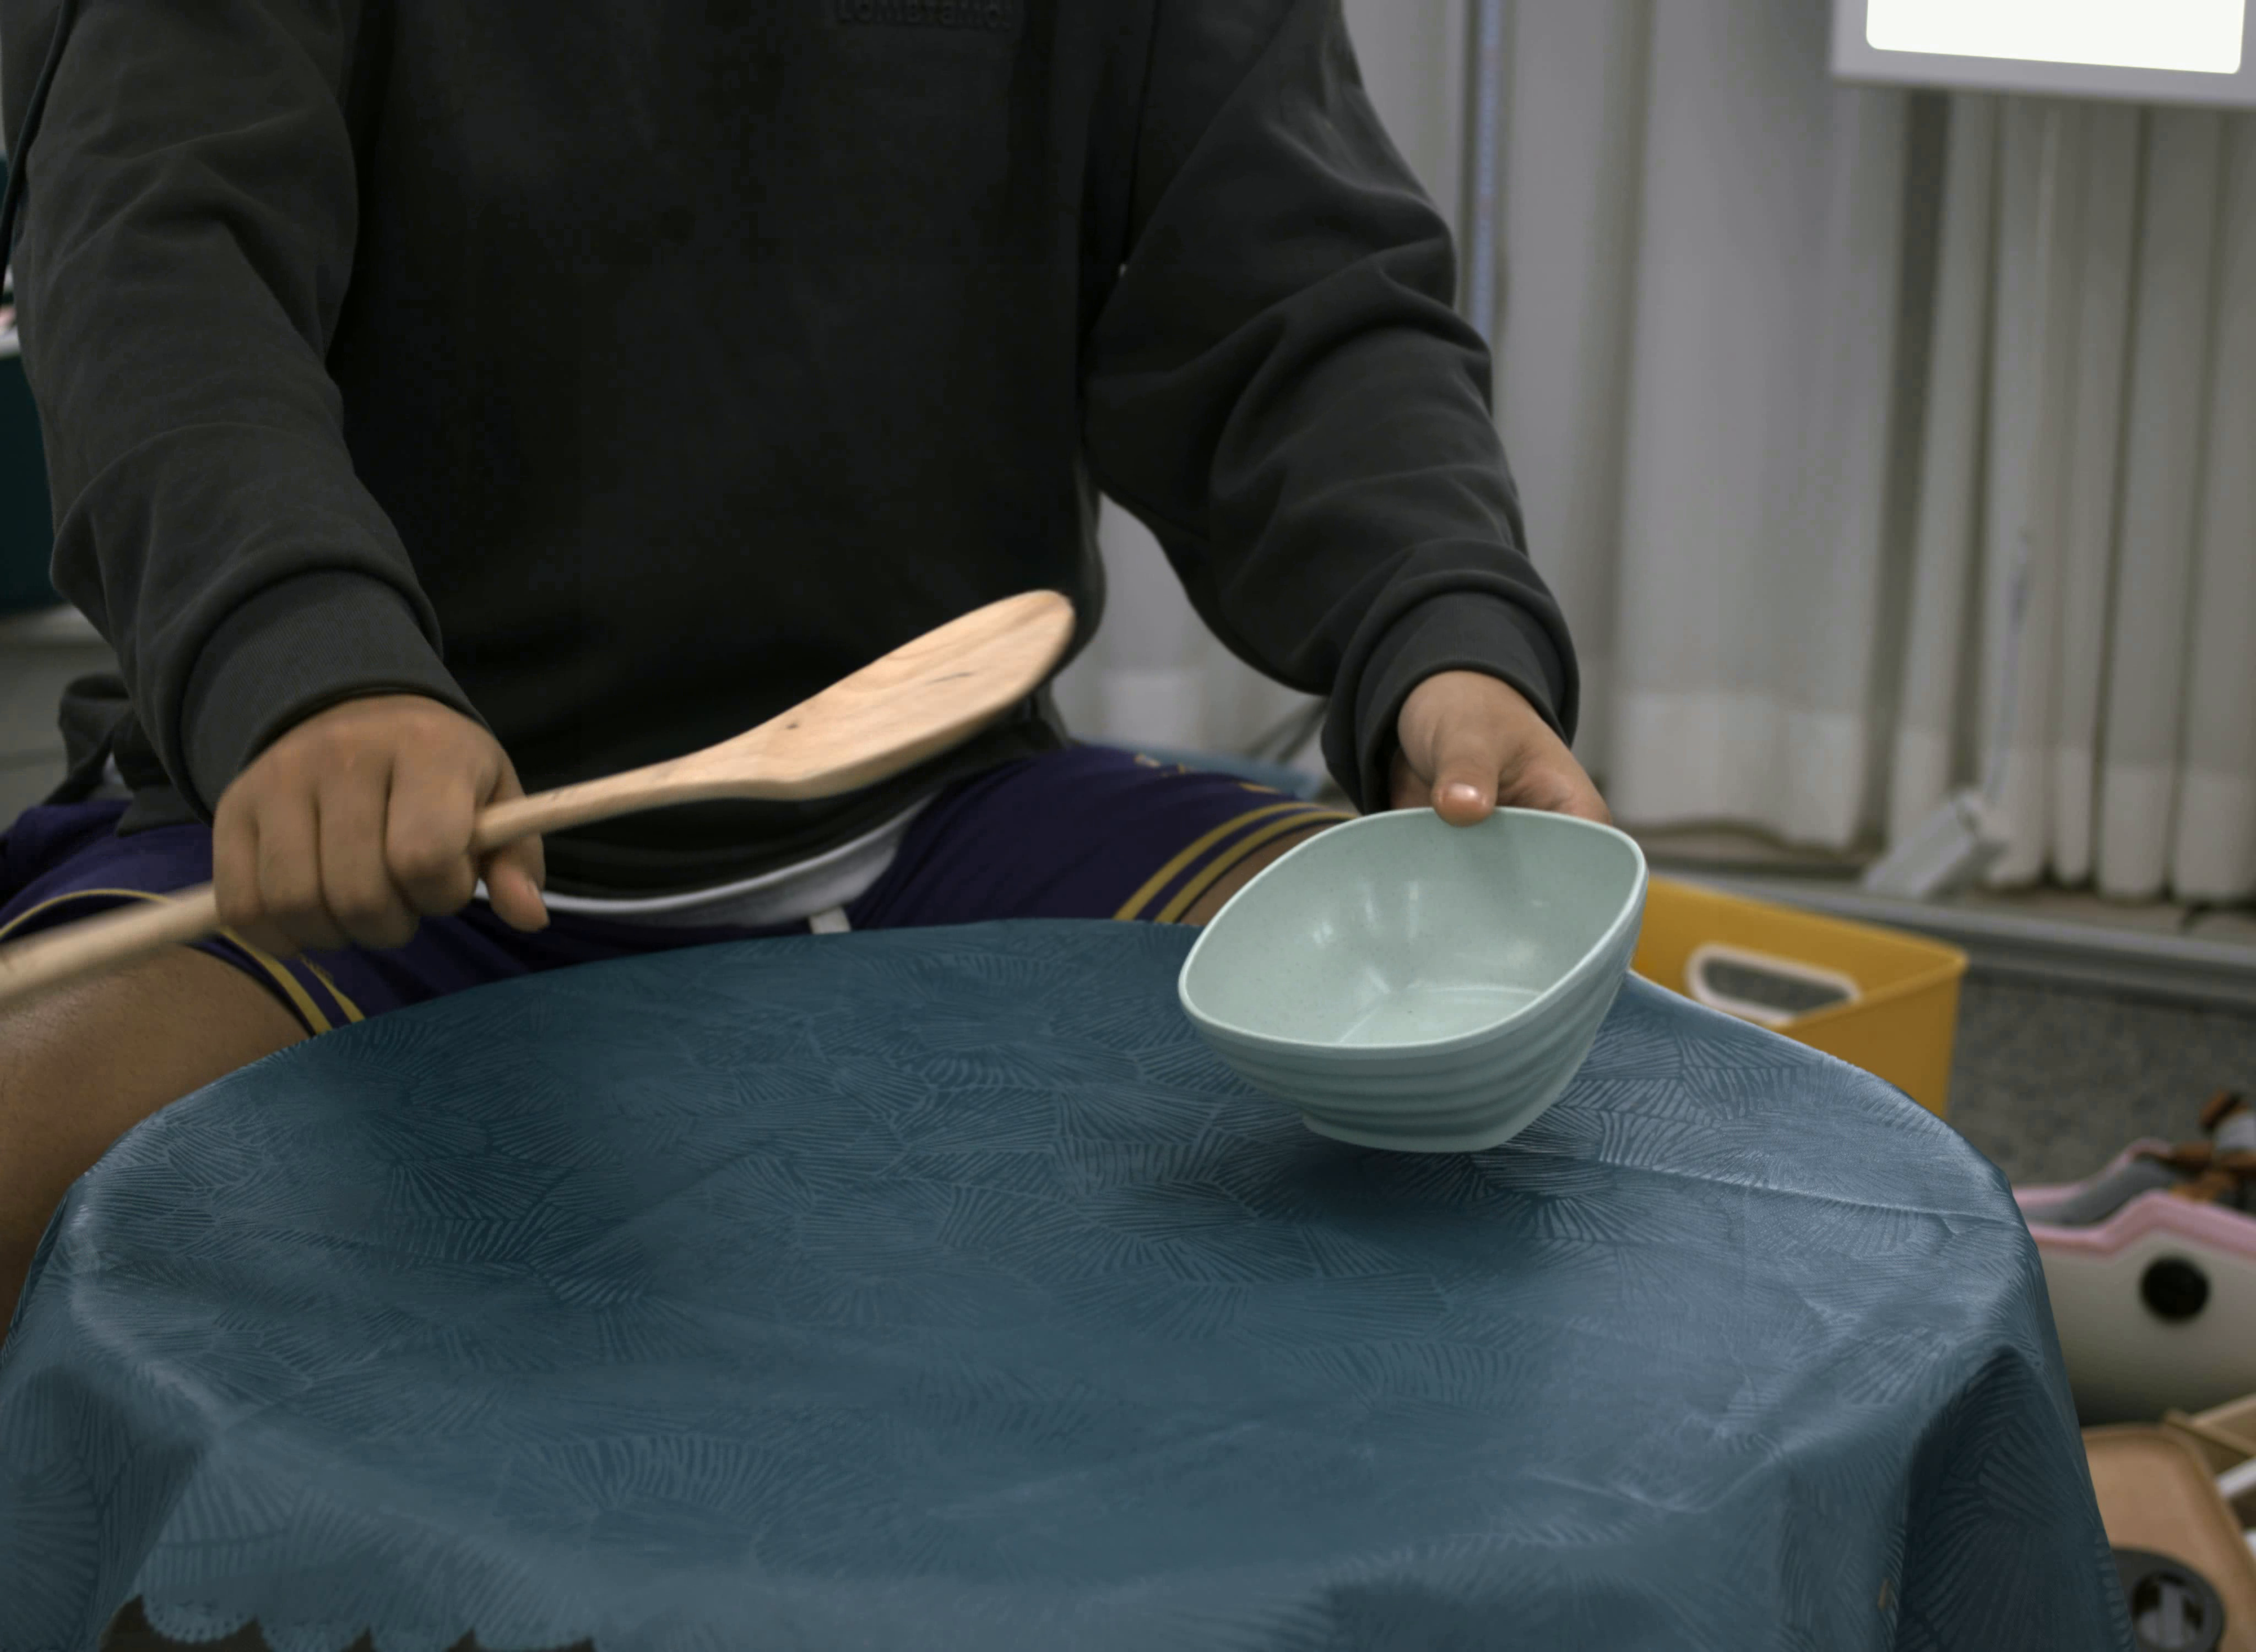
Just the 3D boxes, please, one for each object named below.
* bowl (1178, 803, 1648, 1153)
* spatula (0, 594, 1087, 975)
[{"bbox_3d":[0.094,0.054,1.639,0.151,0.059,0.150,-11,29,7],"label":"bowl"},{"bbox_3d":[-0.192,0.000,1.503,0.388,0.018,0.095,-14,21,15],"label":"spatula"}]
